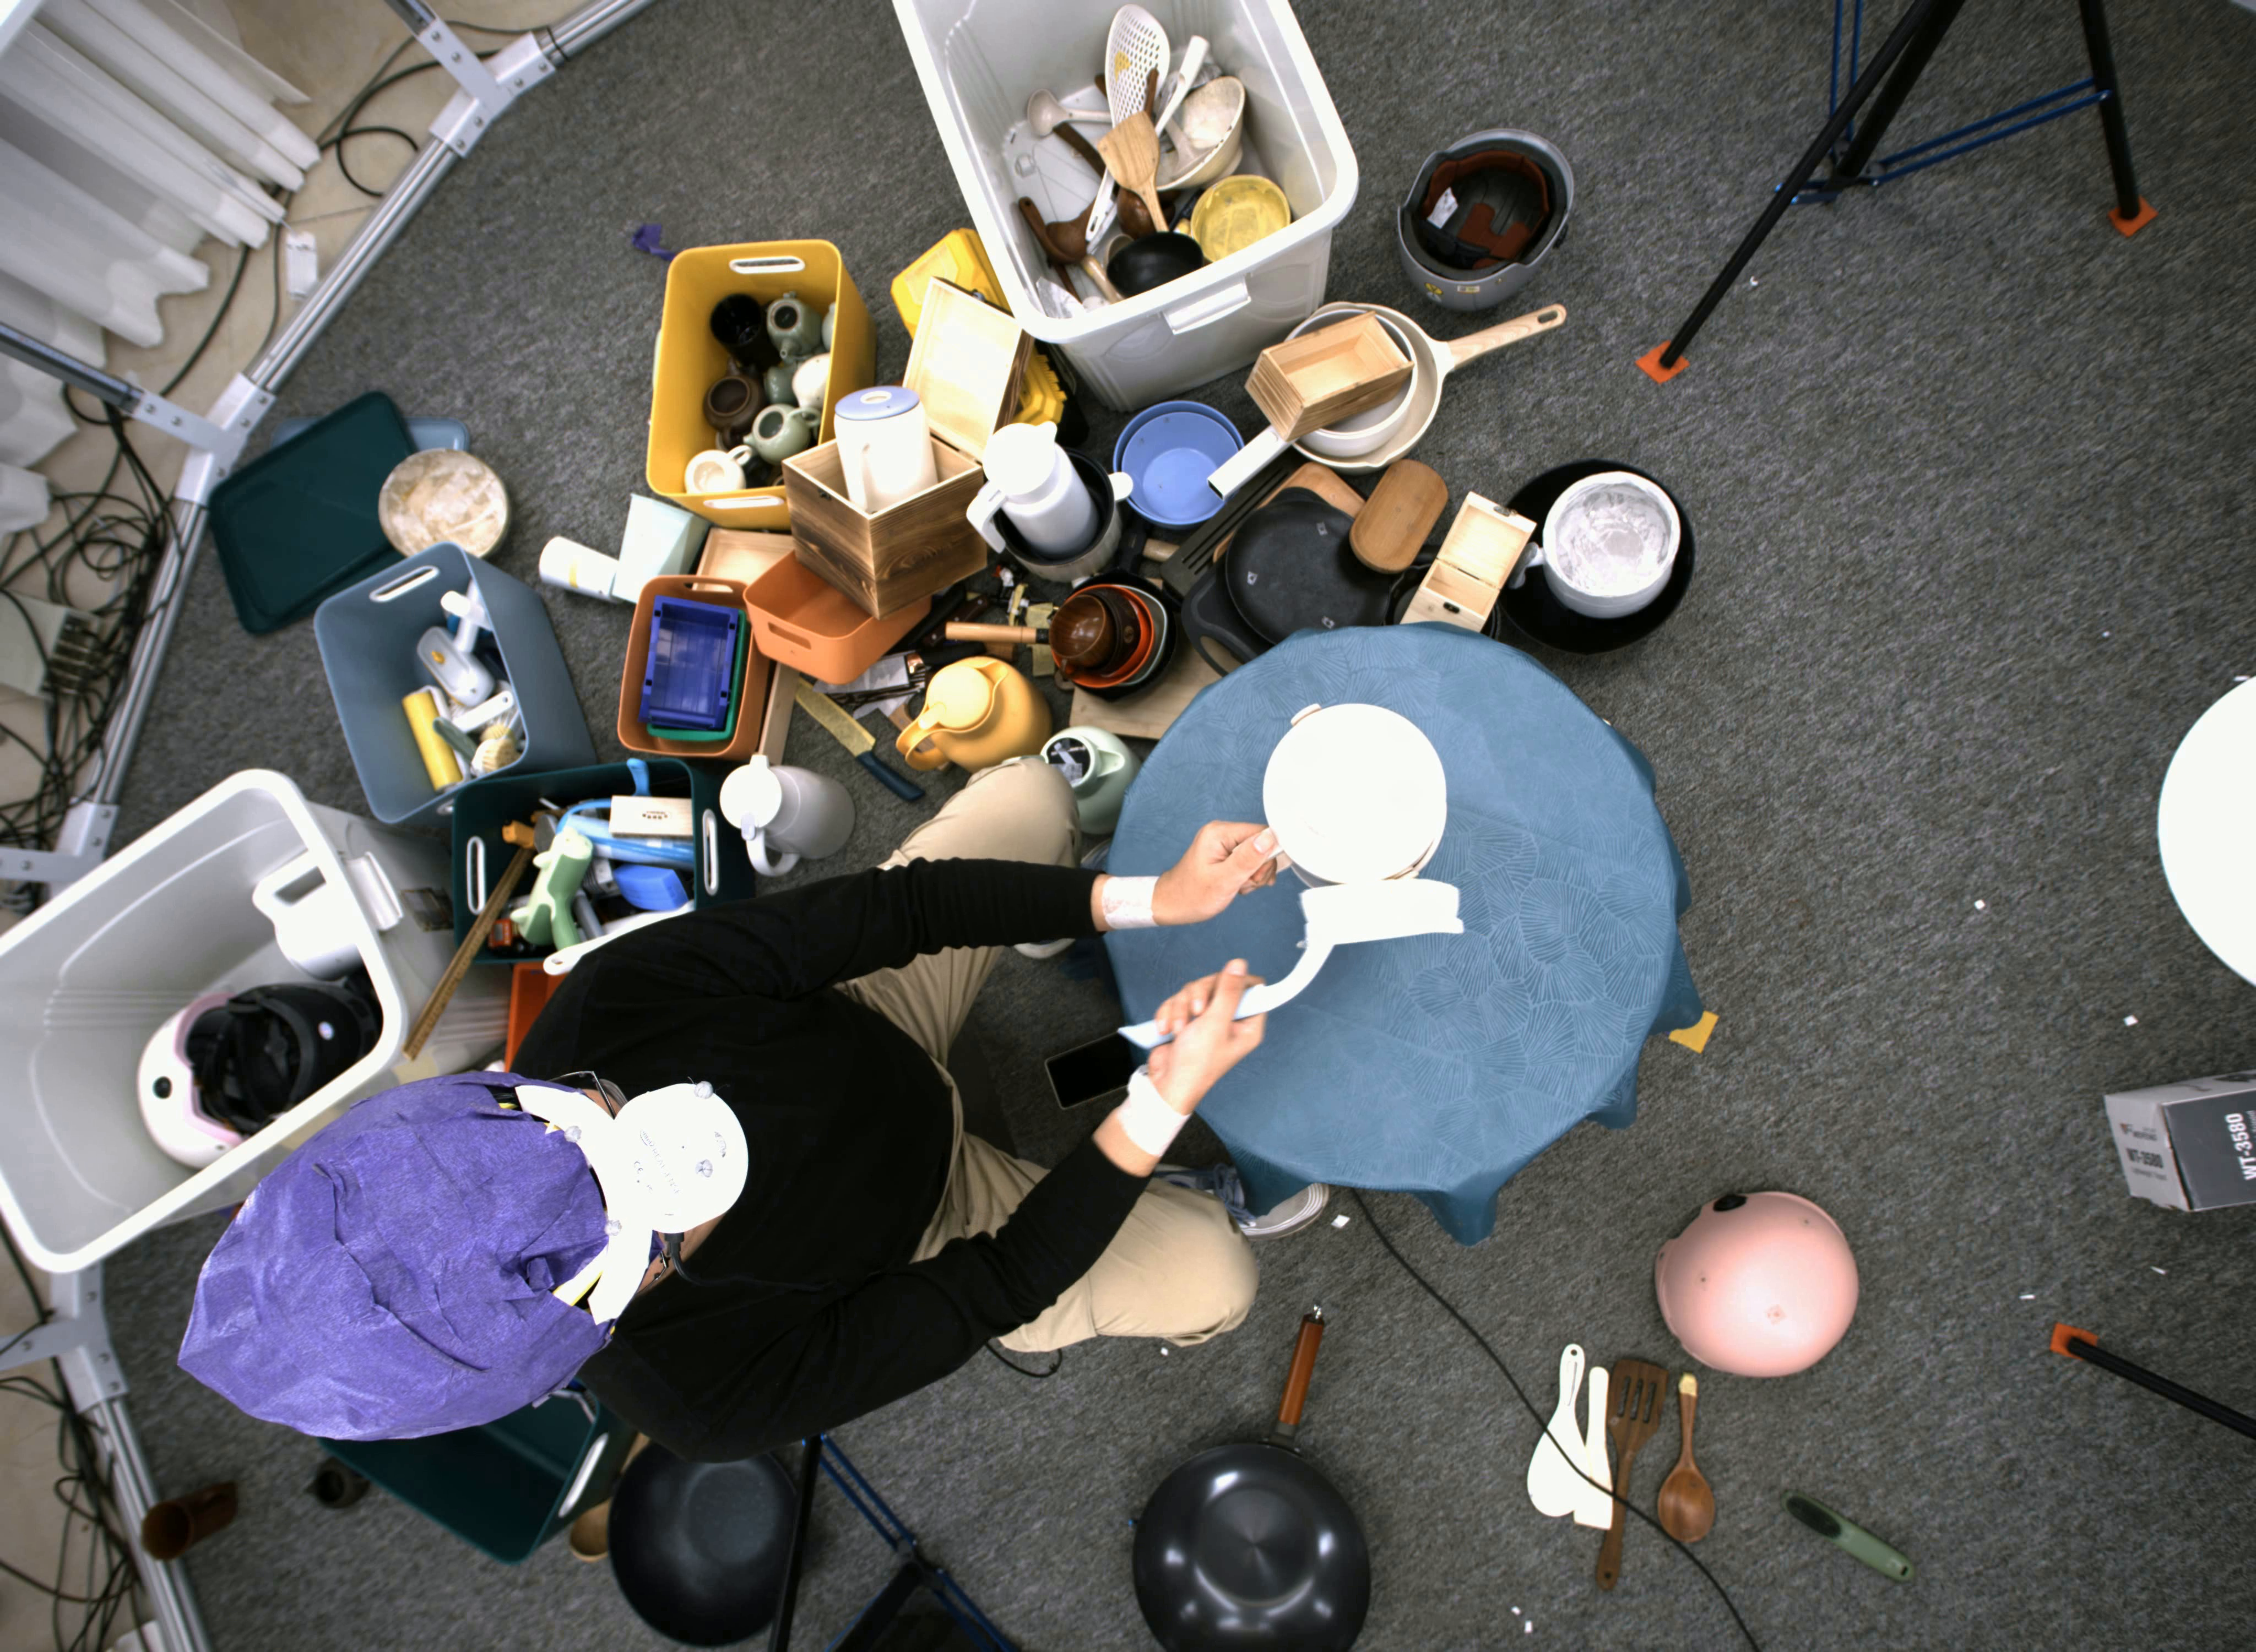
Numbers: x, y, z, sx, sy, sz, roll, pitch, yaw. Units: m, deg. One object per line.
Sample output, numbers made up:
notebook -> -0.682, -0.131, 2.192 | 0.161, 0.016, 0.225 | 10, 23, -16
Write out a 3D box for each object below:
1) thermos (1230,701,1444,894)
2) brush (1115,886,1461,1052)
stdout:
thermos -> 0.195, -0.015, 1.277 | 0.208, 0.406, 0.174 | -31, 81, 5
brush -> 0.130, 0.107, 1.220 | 0.328, 0.082, 0.084 | -20, 123, 16
